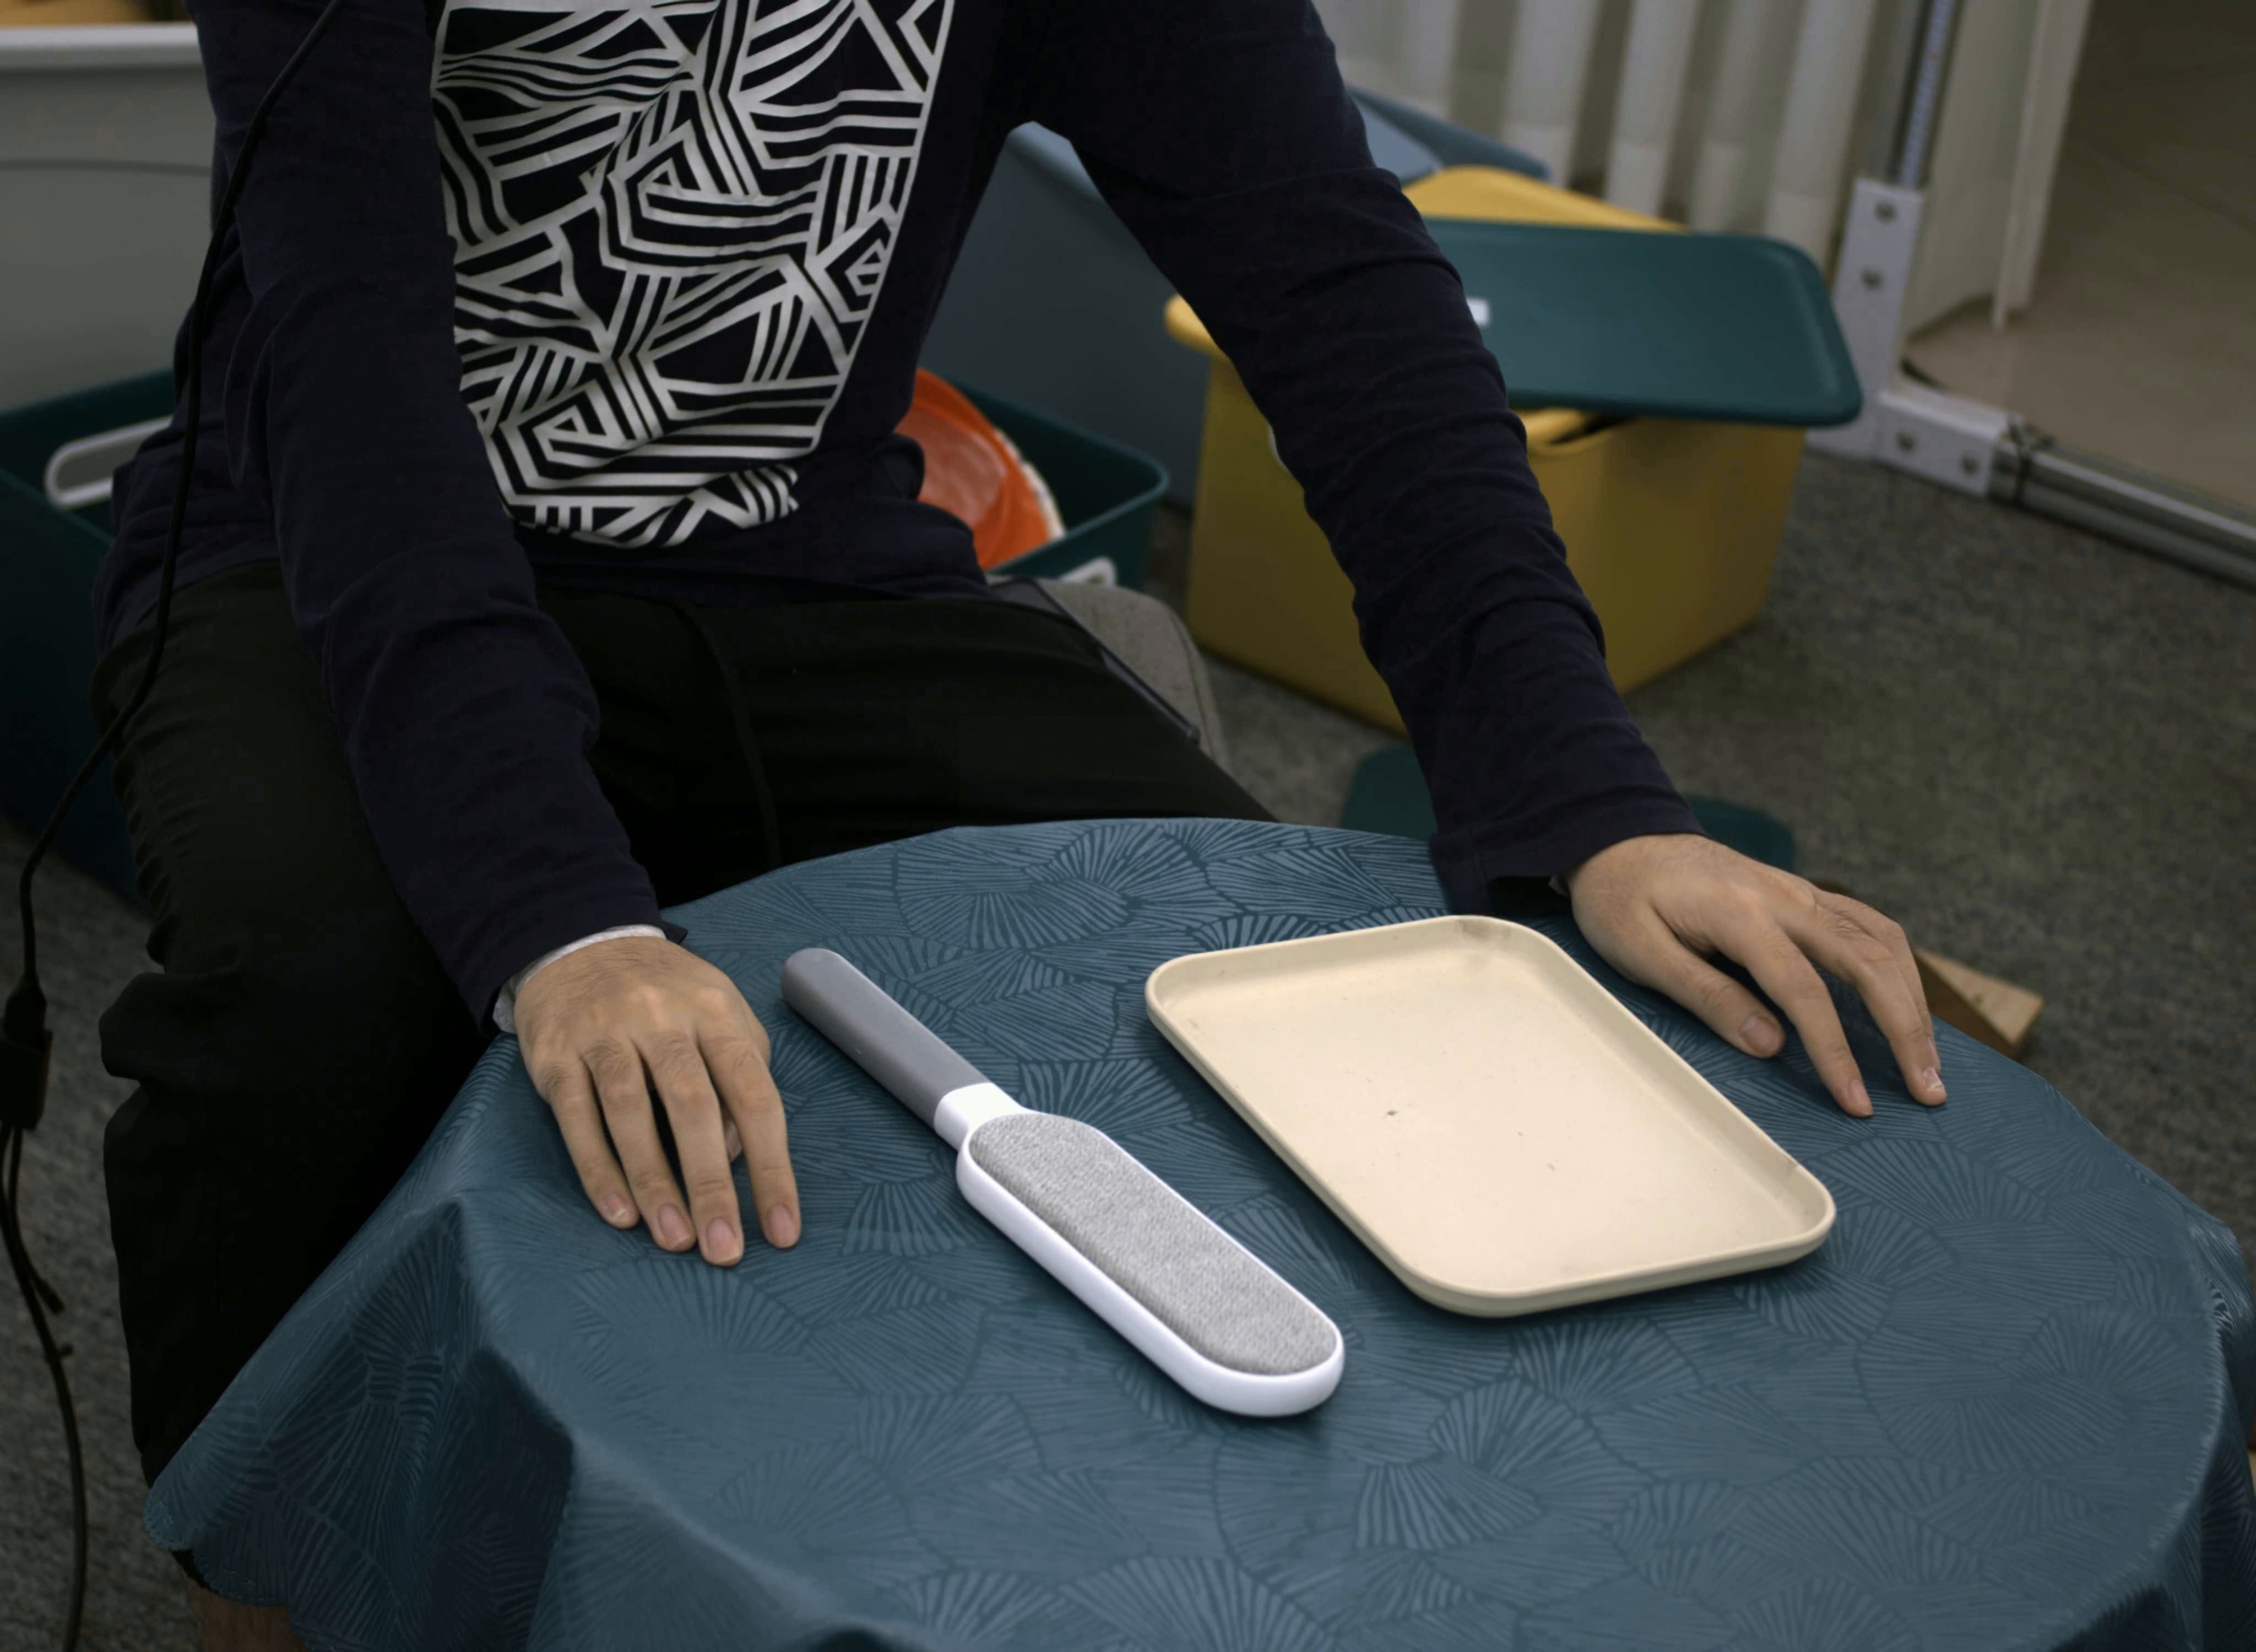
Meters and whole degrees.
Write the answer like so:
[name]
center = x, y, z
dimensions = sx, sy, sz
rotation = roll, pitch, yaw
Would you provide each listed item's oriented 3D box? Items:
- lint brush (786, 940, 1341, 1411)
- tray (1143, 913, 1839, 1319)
[lint brush]
center = -0.029, 0.113, 1.792
dimensions = 0.060, 0.021, 0.311
rotation = -17, 35, -29
[tray]
center = 0.123, 0.100, 1.862
dimensions = 0.170, 0.017, 0.242
rotation = -9, 30, -26
